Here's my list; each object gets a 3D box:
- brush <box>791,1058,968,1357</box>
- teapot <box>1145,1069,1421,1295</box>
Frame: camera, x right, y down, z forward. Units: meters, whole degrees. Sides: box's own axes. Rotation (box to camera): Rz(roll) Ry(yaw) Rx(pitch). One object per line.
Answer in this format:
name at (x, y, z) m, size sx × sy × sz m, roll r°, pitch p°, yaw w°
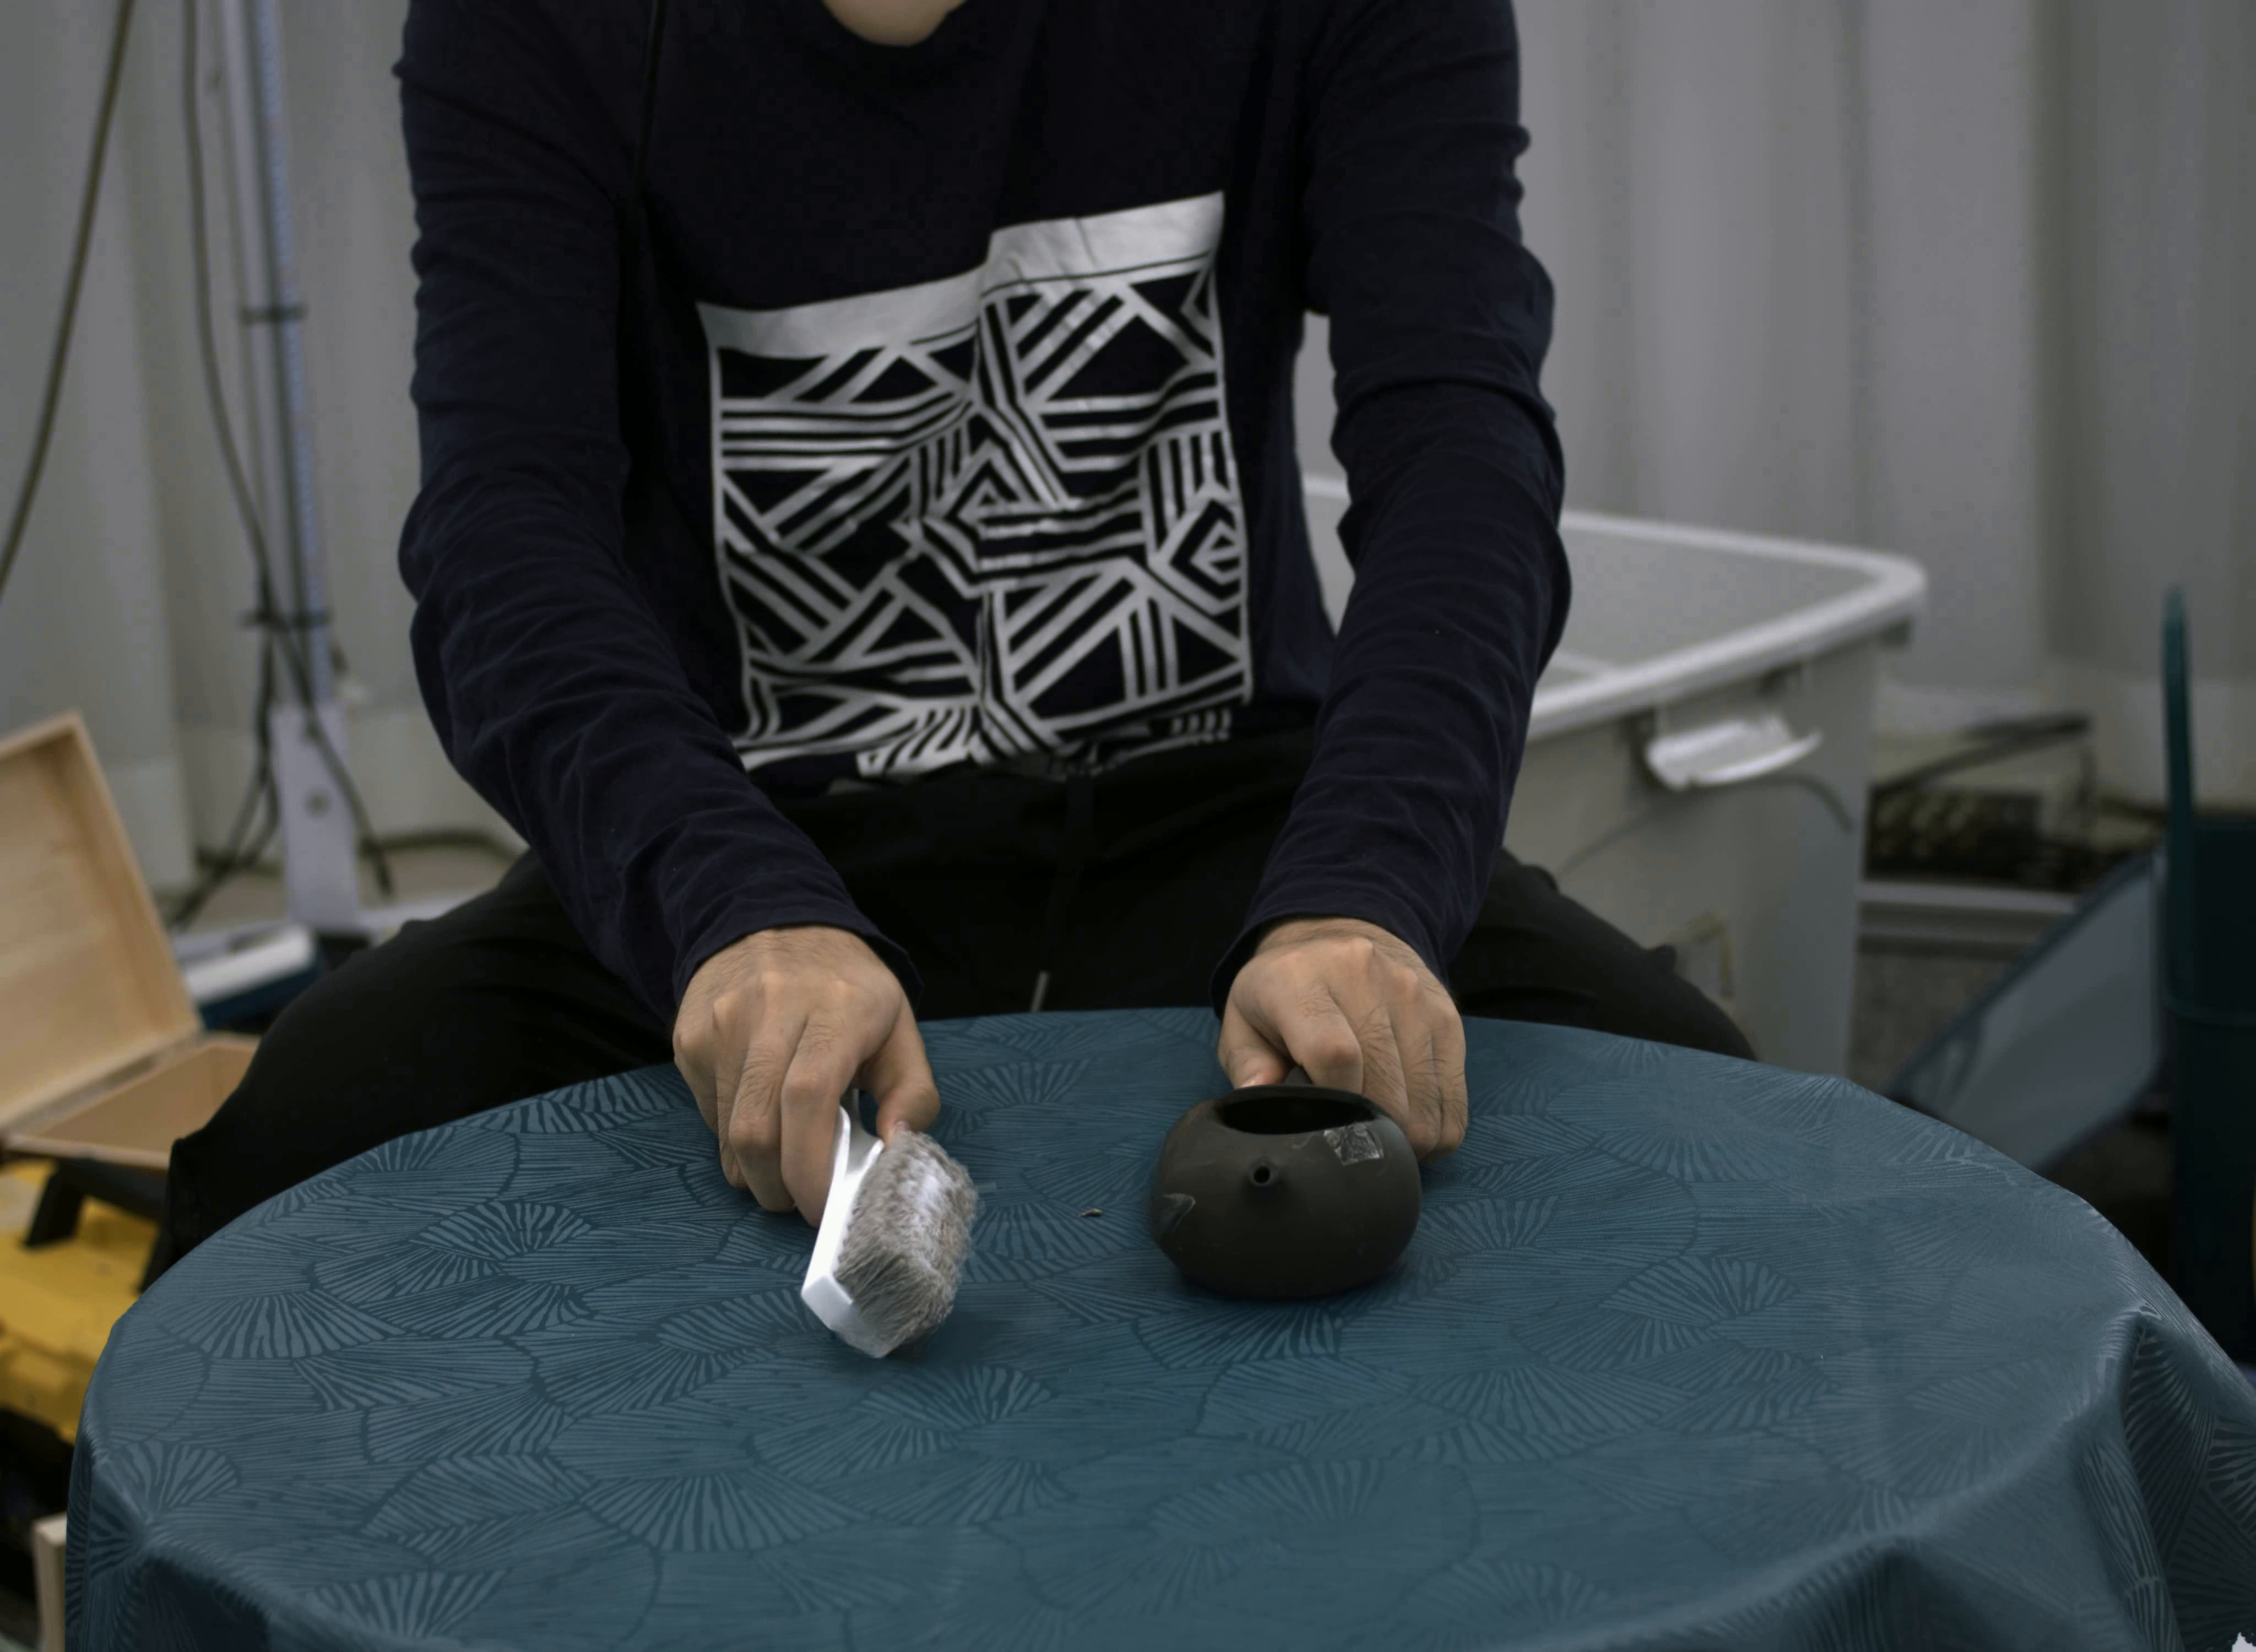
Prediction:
brush at (-0.075, 0.099, 1.676) m, size 0.034 × 0.050 × 0.245 m, roll 38°, pitch 10°, yaw -11°
teapot at (0.048, 0.105, 1.645) m, size 0.083 × 0.053 × 0.115 m, roll -1°, pitch 15°, yaw 10°
